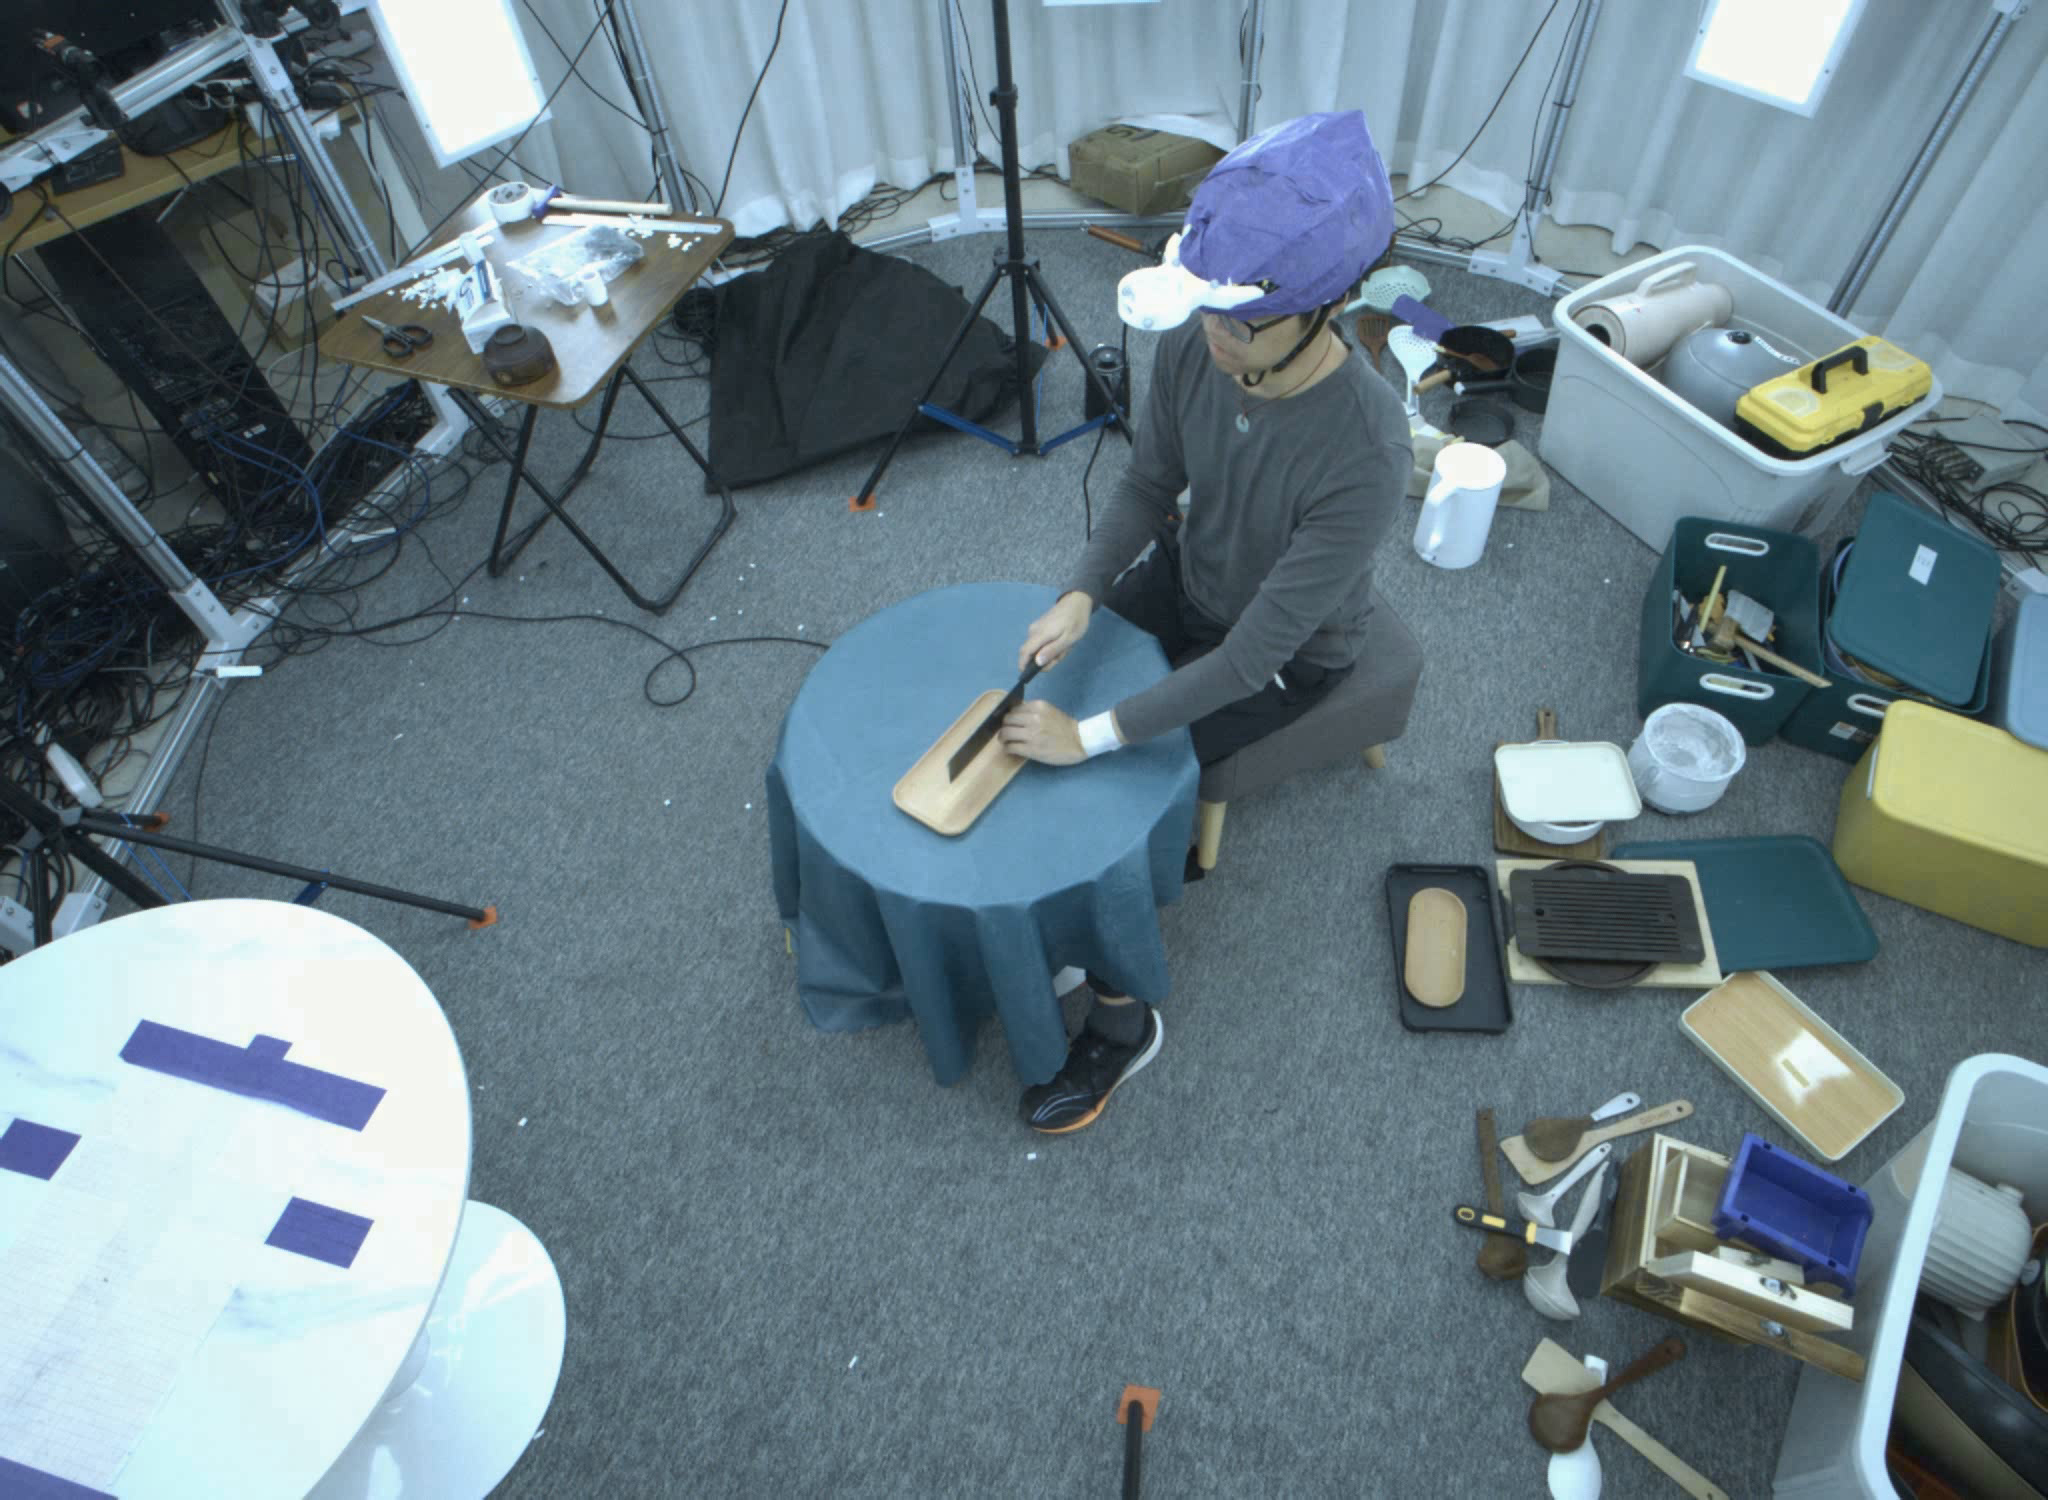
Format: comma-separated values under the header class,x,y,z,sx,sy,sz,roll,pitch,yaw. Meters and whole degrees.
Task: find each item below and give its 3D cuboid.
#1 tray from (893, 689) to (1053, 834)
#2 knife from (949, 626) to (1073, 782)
class,x,y,z,sx,sy,sz,roll,pitch,yaw
tray,-0.072,0.014,1.777,0.128,0.023,0.252,32,60,19
knife,-0.018,-0.072,1.763,0.020,0.081,0.303,31,64,16
